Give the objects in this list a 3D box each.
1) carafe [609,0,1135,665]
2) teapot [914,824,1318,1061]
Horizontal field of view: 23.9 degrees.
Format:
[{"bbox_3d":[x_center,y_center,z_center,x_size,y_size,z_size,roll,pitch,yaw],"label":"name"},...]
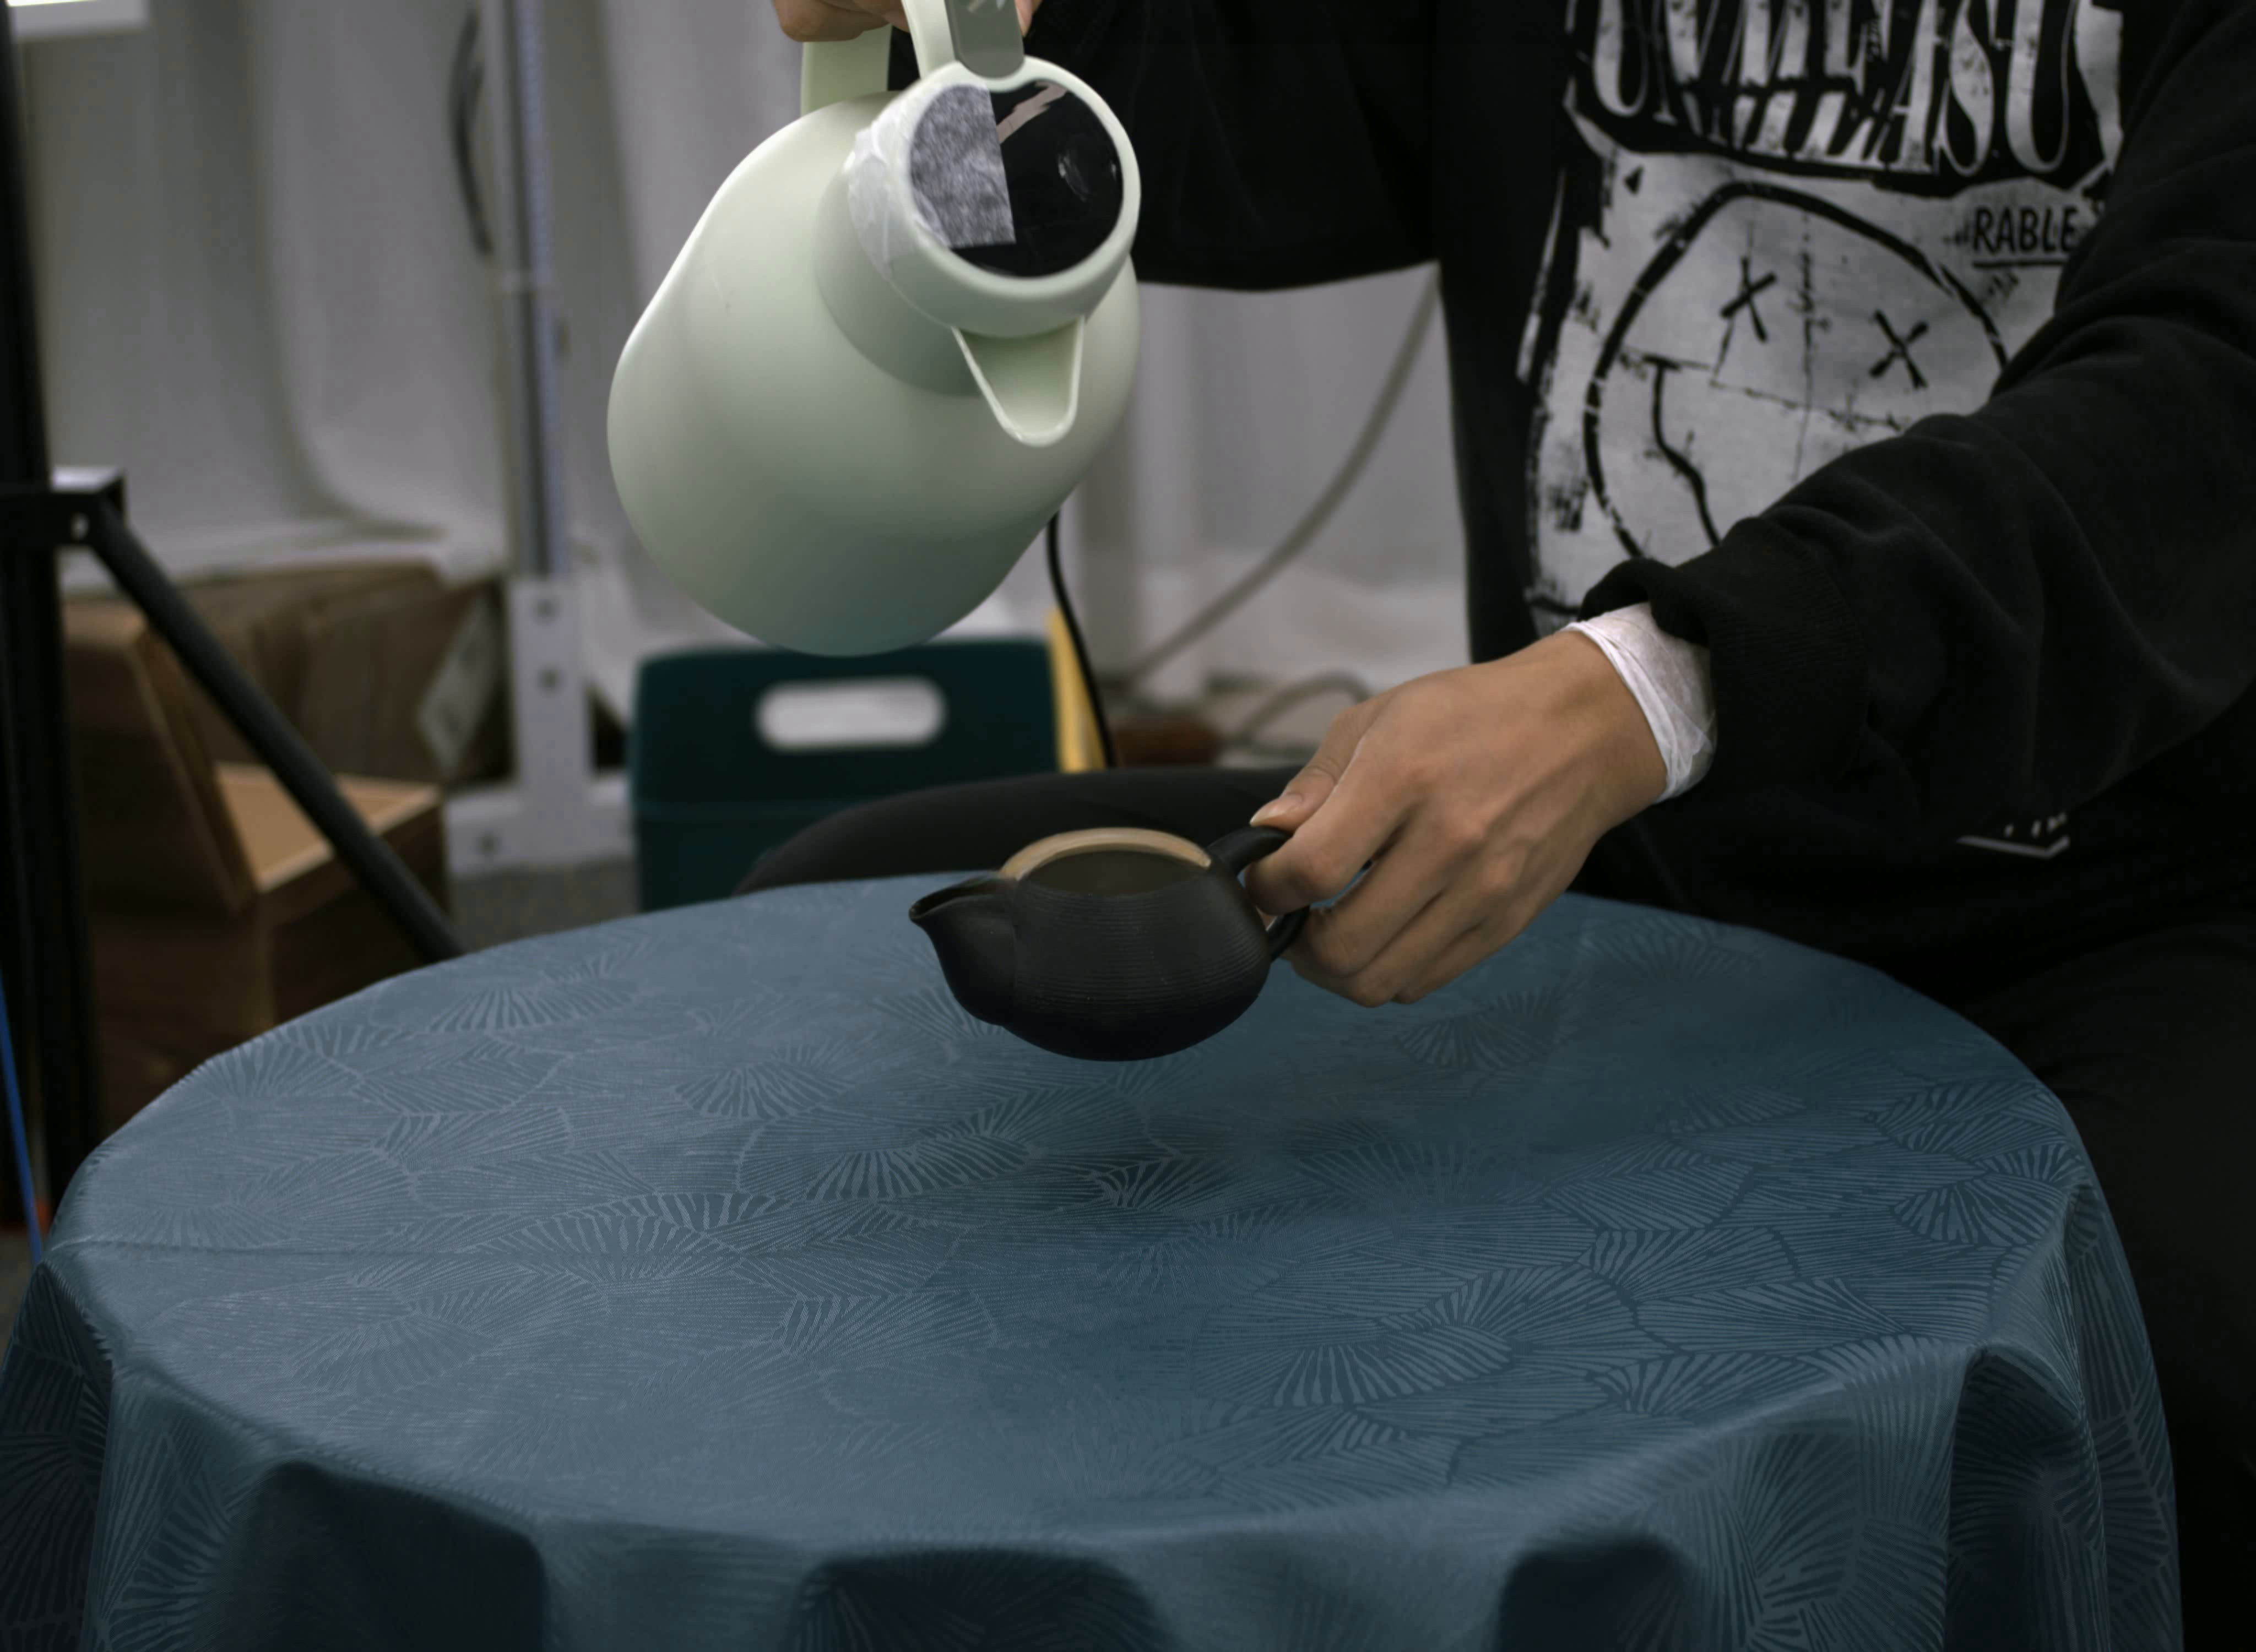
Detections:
[{"bbox_3d":[-0.070,-0.167,1.626,0.142,0.189,0.258,-7,-18,-17],"label":"carafe"},{"bbox_3d":[-0.002,0.034,1.547,0.130,0.053,0.093,-12,24,-26],"label":"teapot"}]
